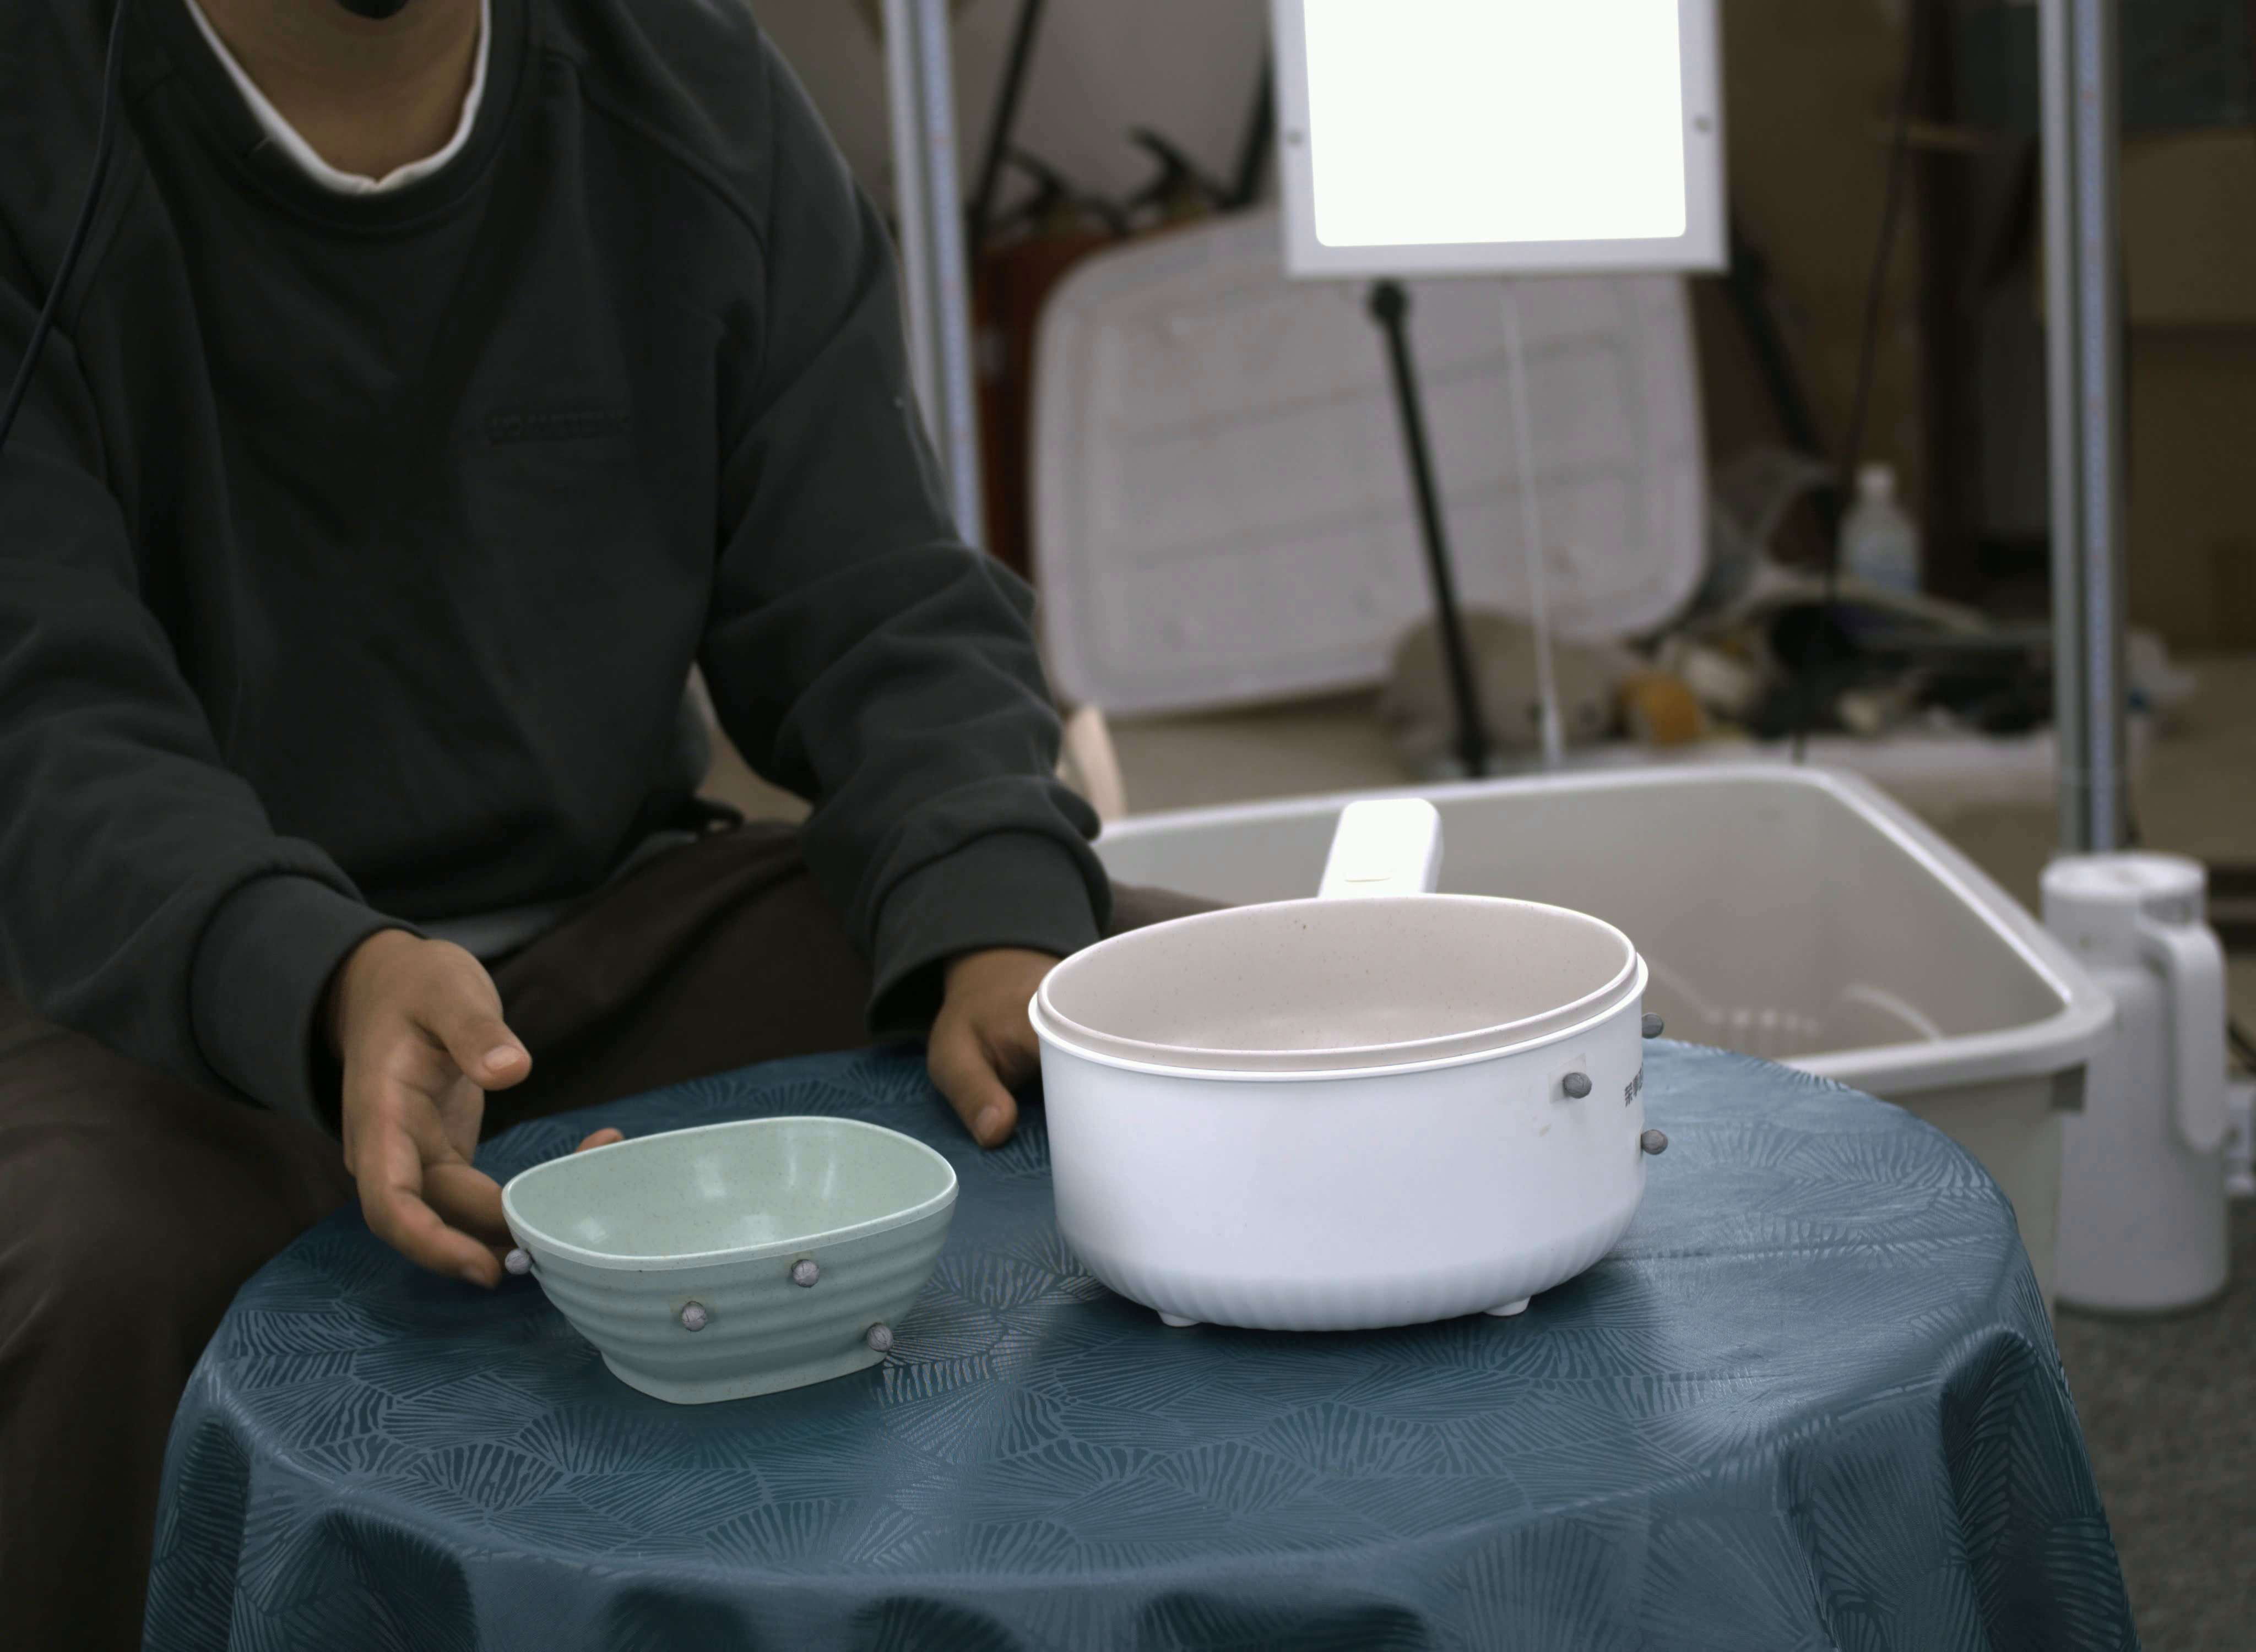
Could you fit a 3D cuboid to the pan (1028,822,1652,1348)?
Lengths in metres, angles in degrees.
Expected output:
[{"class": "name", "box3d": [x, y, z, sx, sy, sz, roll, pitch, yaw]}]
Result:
[{"class": "pan", "box3d": [0.080, 0.084, 1.862, 0.202, 0.102, 0.352, -6, 12, 8]}]

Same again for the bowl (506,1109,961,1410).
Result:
[{"class": "bowl", "box3d": [-0.124, 0.141, 1.759, 0.151, 0.059, 0.151, -5, 15, 0]}]
